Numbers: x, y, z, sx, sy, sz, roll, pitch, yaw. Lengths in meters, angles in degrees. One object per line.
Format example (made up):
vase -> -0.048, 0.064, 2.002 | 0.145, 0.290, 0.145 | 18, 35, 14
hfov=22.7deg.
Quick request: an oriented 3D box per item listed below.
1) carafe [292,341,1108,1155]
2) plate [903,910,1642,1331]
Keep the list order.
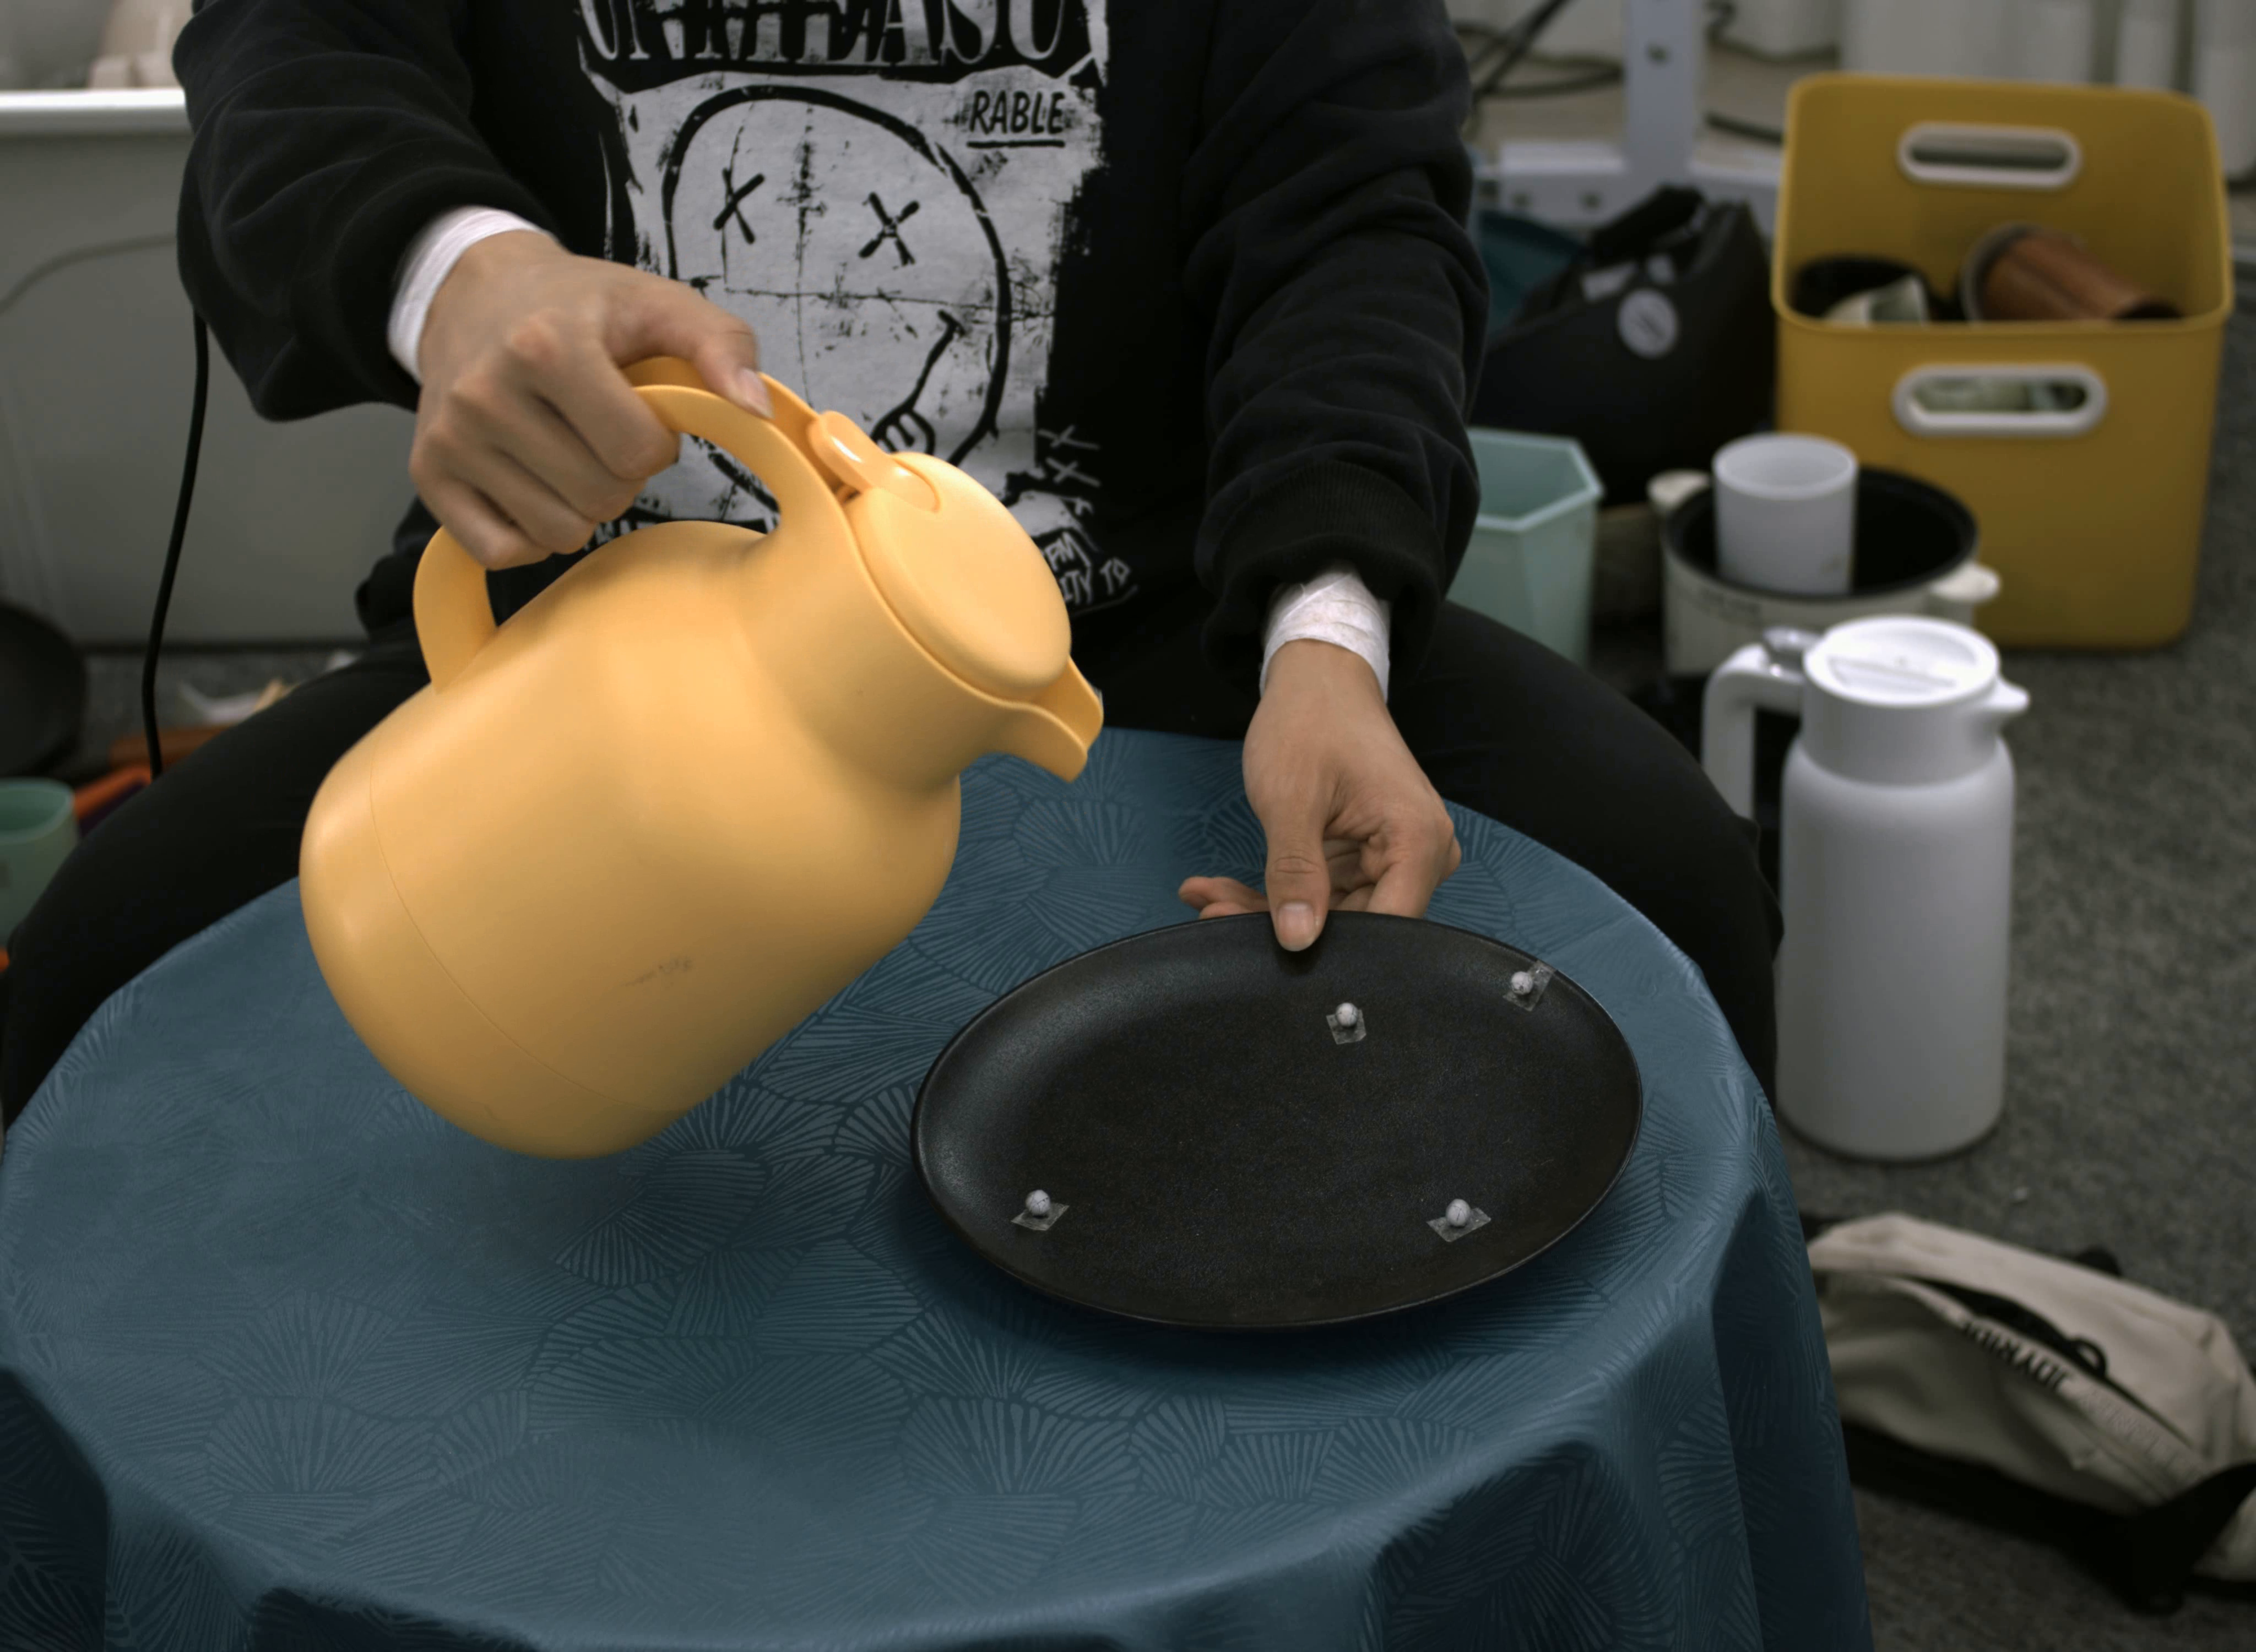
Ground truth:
carafe -> -0.147, -0.032, 1.801 | 0.257, 0.202, 0.166 | -36, 12, 22
plate -> 0.048, 0.101, 1.856 | 0.243, 0.023, 0.248 | -3, 30, 2
